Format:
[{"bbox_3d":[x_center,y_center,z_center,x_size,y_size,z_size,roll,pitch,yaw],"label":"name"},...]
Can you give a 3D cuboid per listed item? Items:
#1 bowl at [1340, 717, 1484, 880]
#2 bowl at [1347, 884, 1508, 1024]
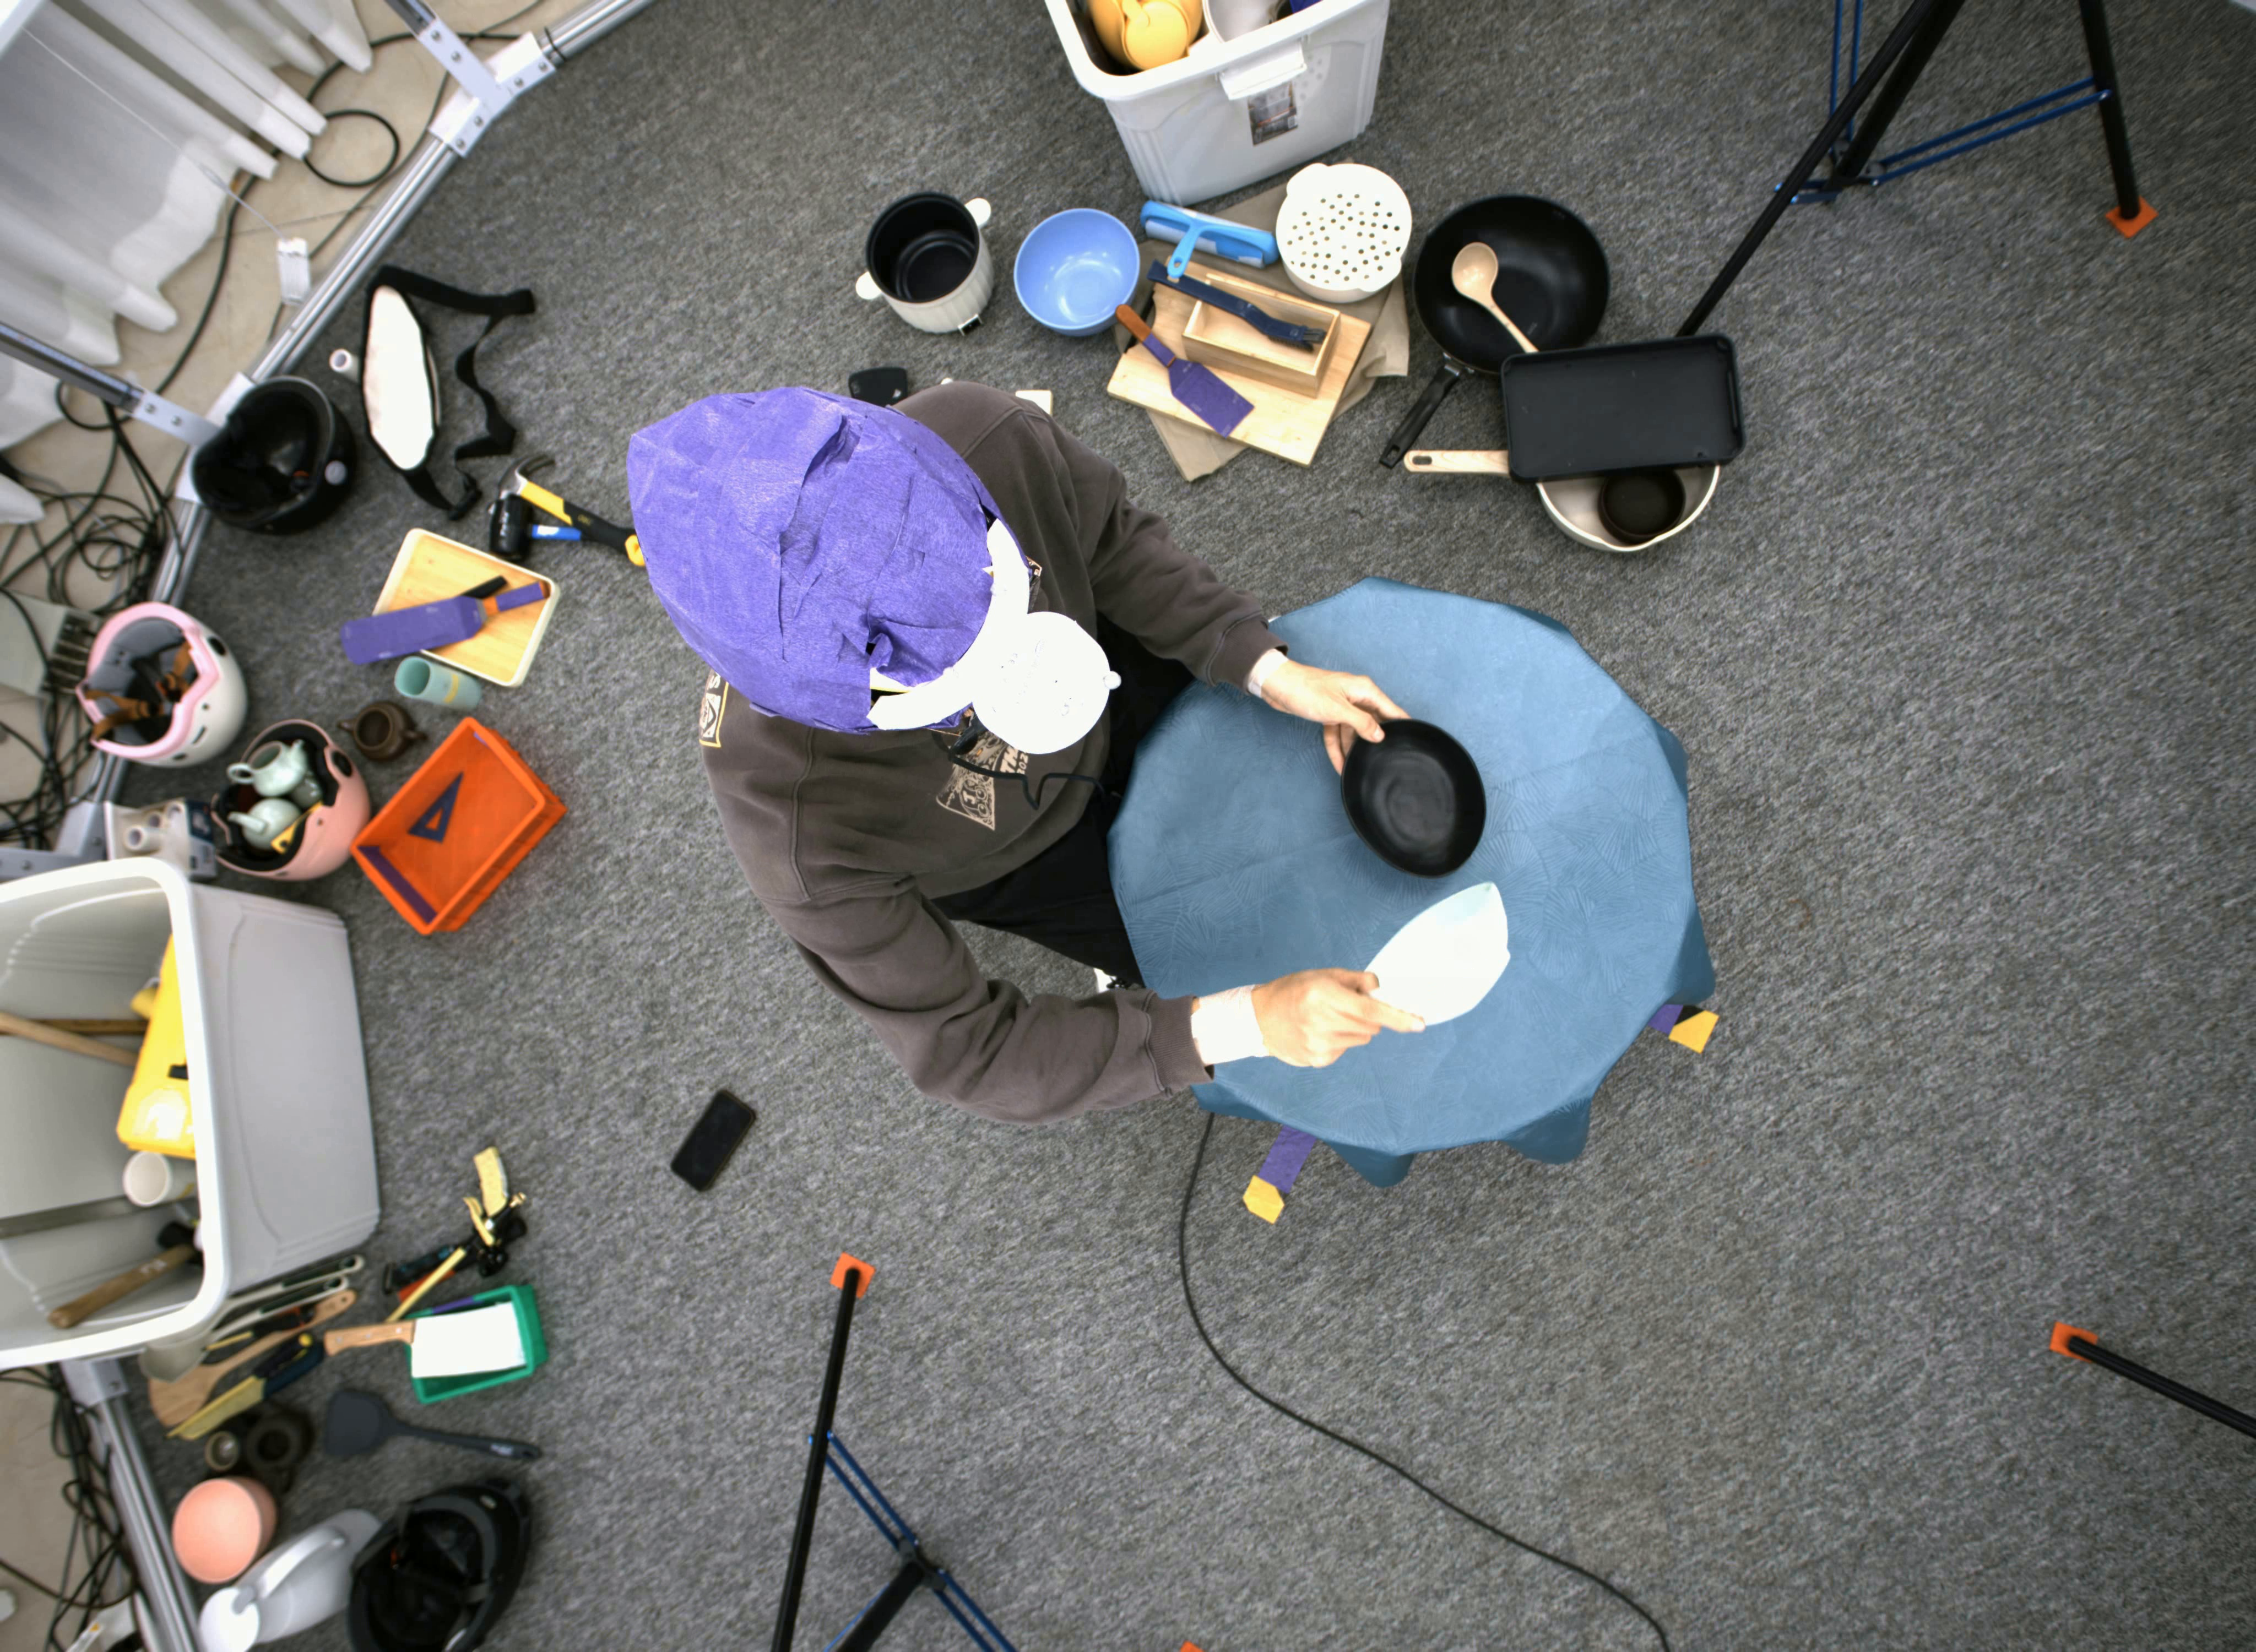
[{"bbox_3d":[0.291,-0.029,1.410,0.138,0.066,0.169,-29,85,8],"label":"bowl"},{"bbox_3d":[0.261,0.114,1.154,0.152,0.151,0.058,-38,88,5],"label":"bowl"}]
